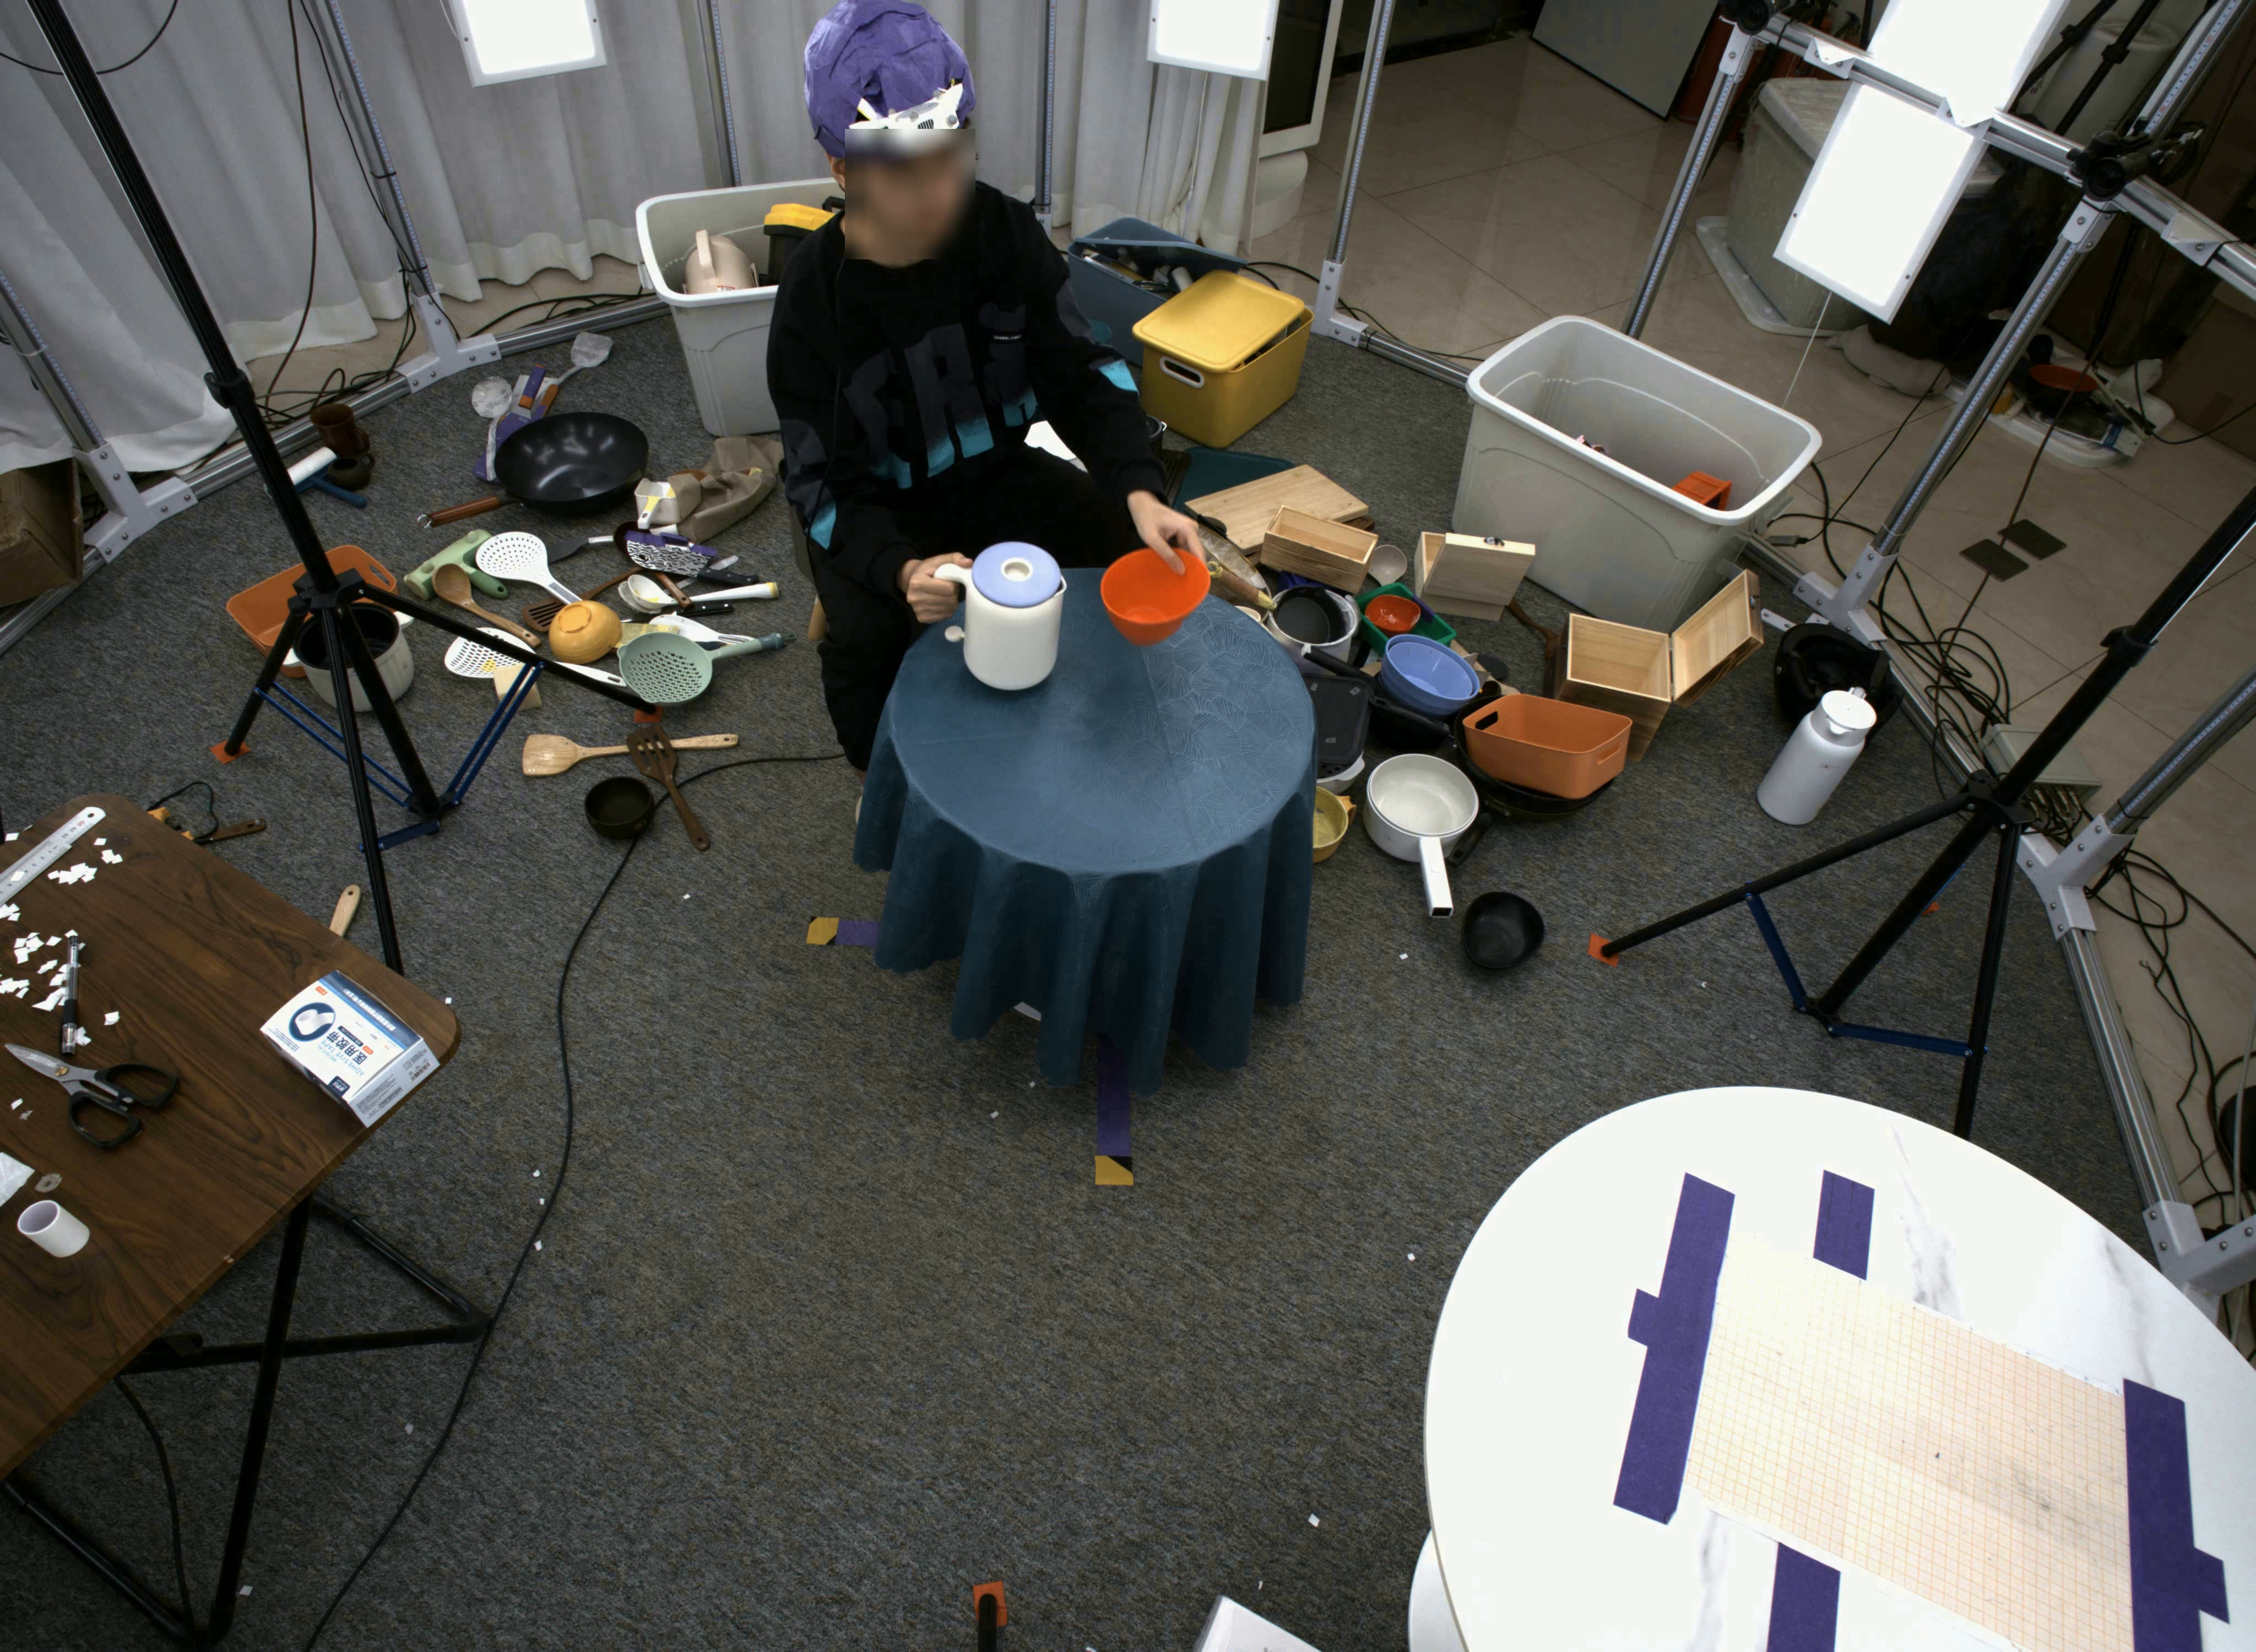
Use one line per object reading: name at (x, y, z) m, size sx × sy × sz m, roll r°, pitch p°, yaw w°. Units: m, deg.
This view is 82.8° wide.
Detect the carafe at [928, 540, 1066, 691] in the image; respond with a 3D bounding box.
carafe at (-0.181, -0.292, 1.763) m, size 0.191 × 0.178 × 0.135 m, roll 12°, pitch 52°, yaw 4°

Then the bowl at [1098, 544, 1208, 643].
bowl at (0.032, -0.306, 1.757) m, size 0.148 × 0.102 × 0.151 m, roll 0°, pitch 56°, yaw -1°
